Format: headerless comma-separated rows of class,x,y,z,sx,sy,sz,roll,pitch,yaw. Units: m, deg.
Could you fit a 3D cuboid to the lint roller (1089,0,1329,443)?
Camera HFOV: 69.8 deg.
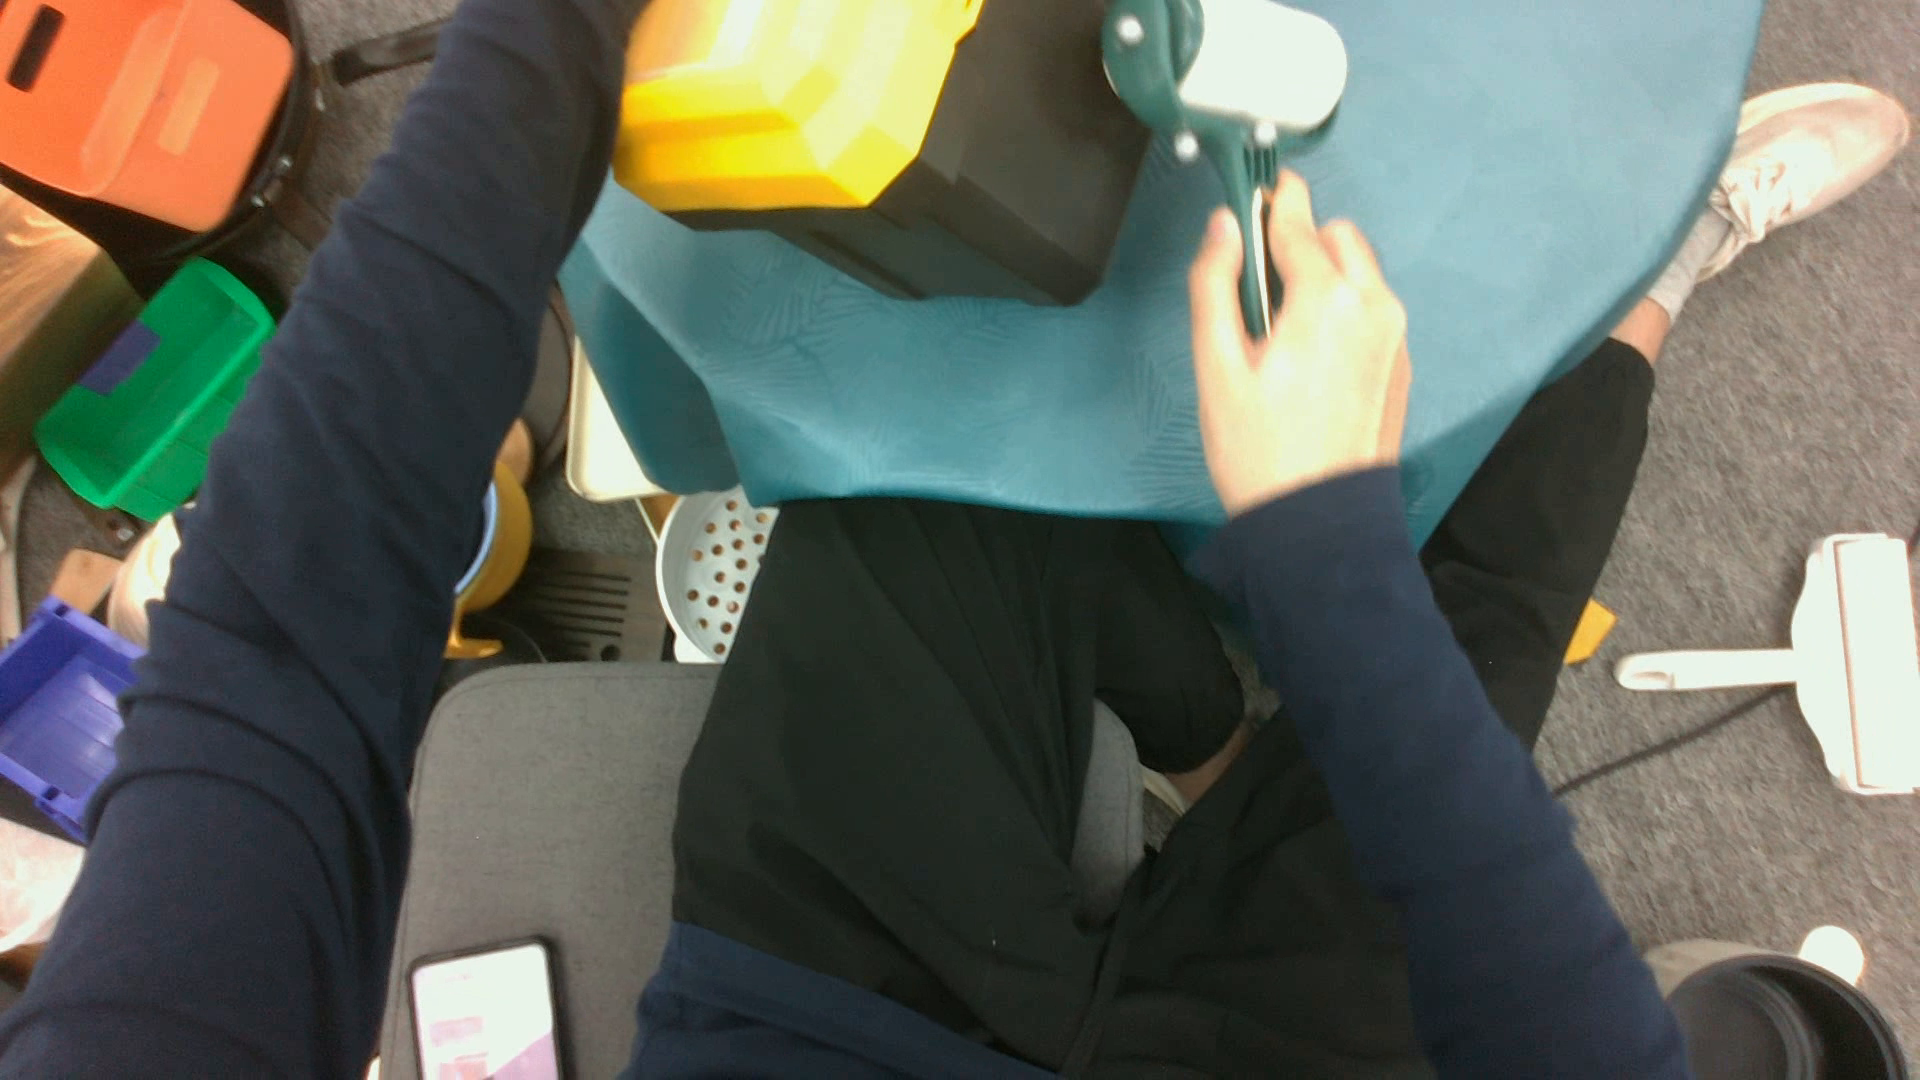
lint roller,0.113,-0.129,0.530,0.048,0.135,0.180,-17,85,43

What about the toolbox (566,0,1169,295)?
toolbox,0.001,-0.277,0.544,0.181,0.173,0.352,12,81,44
